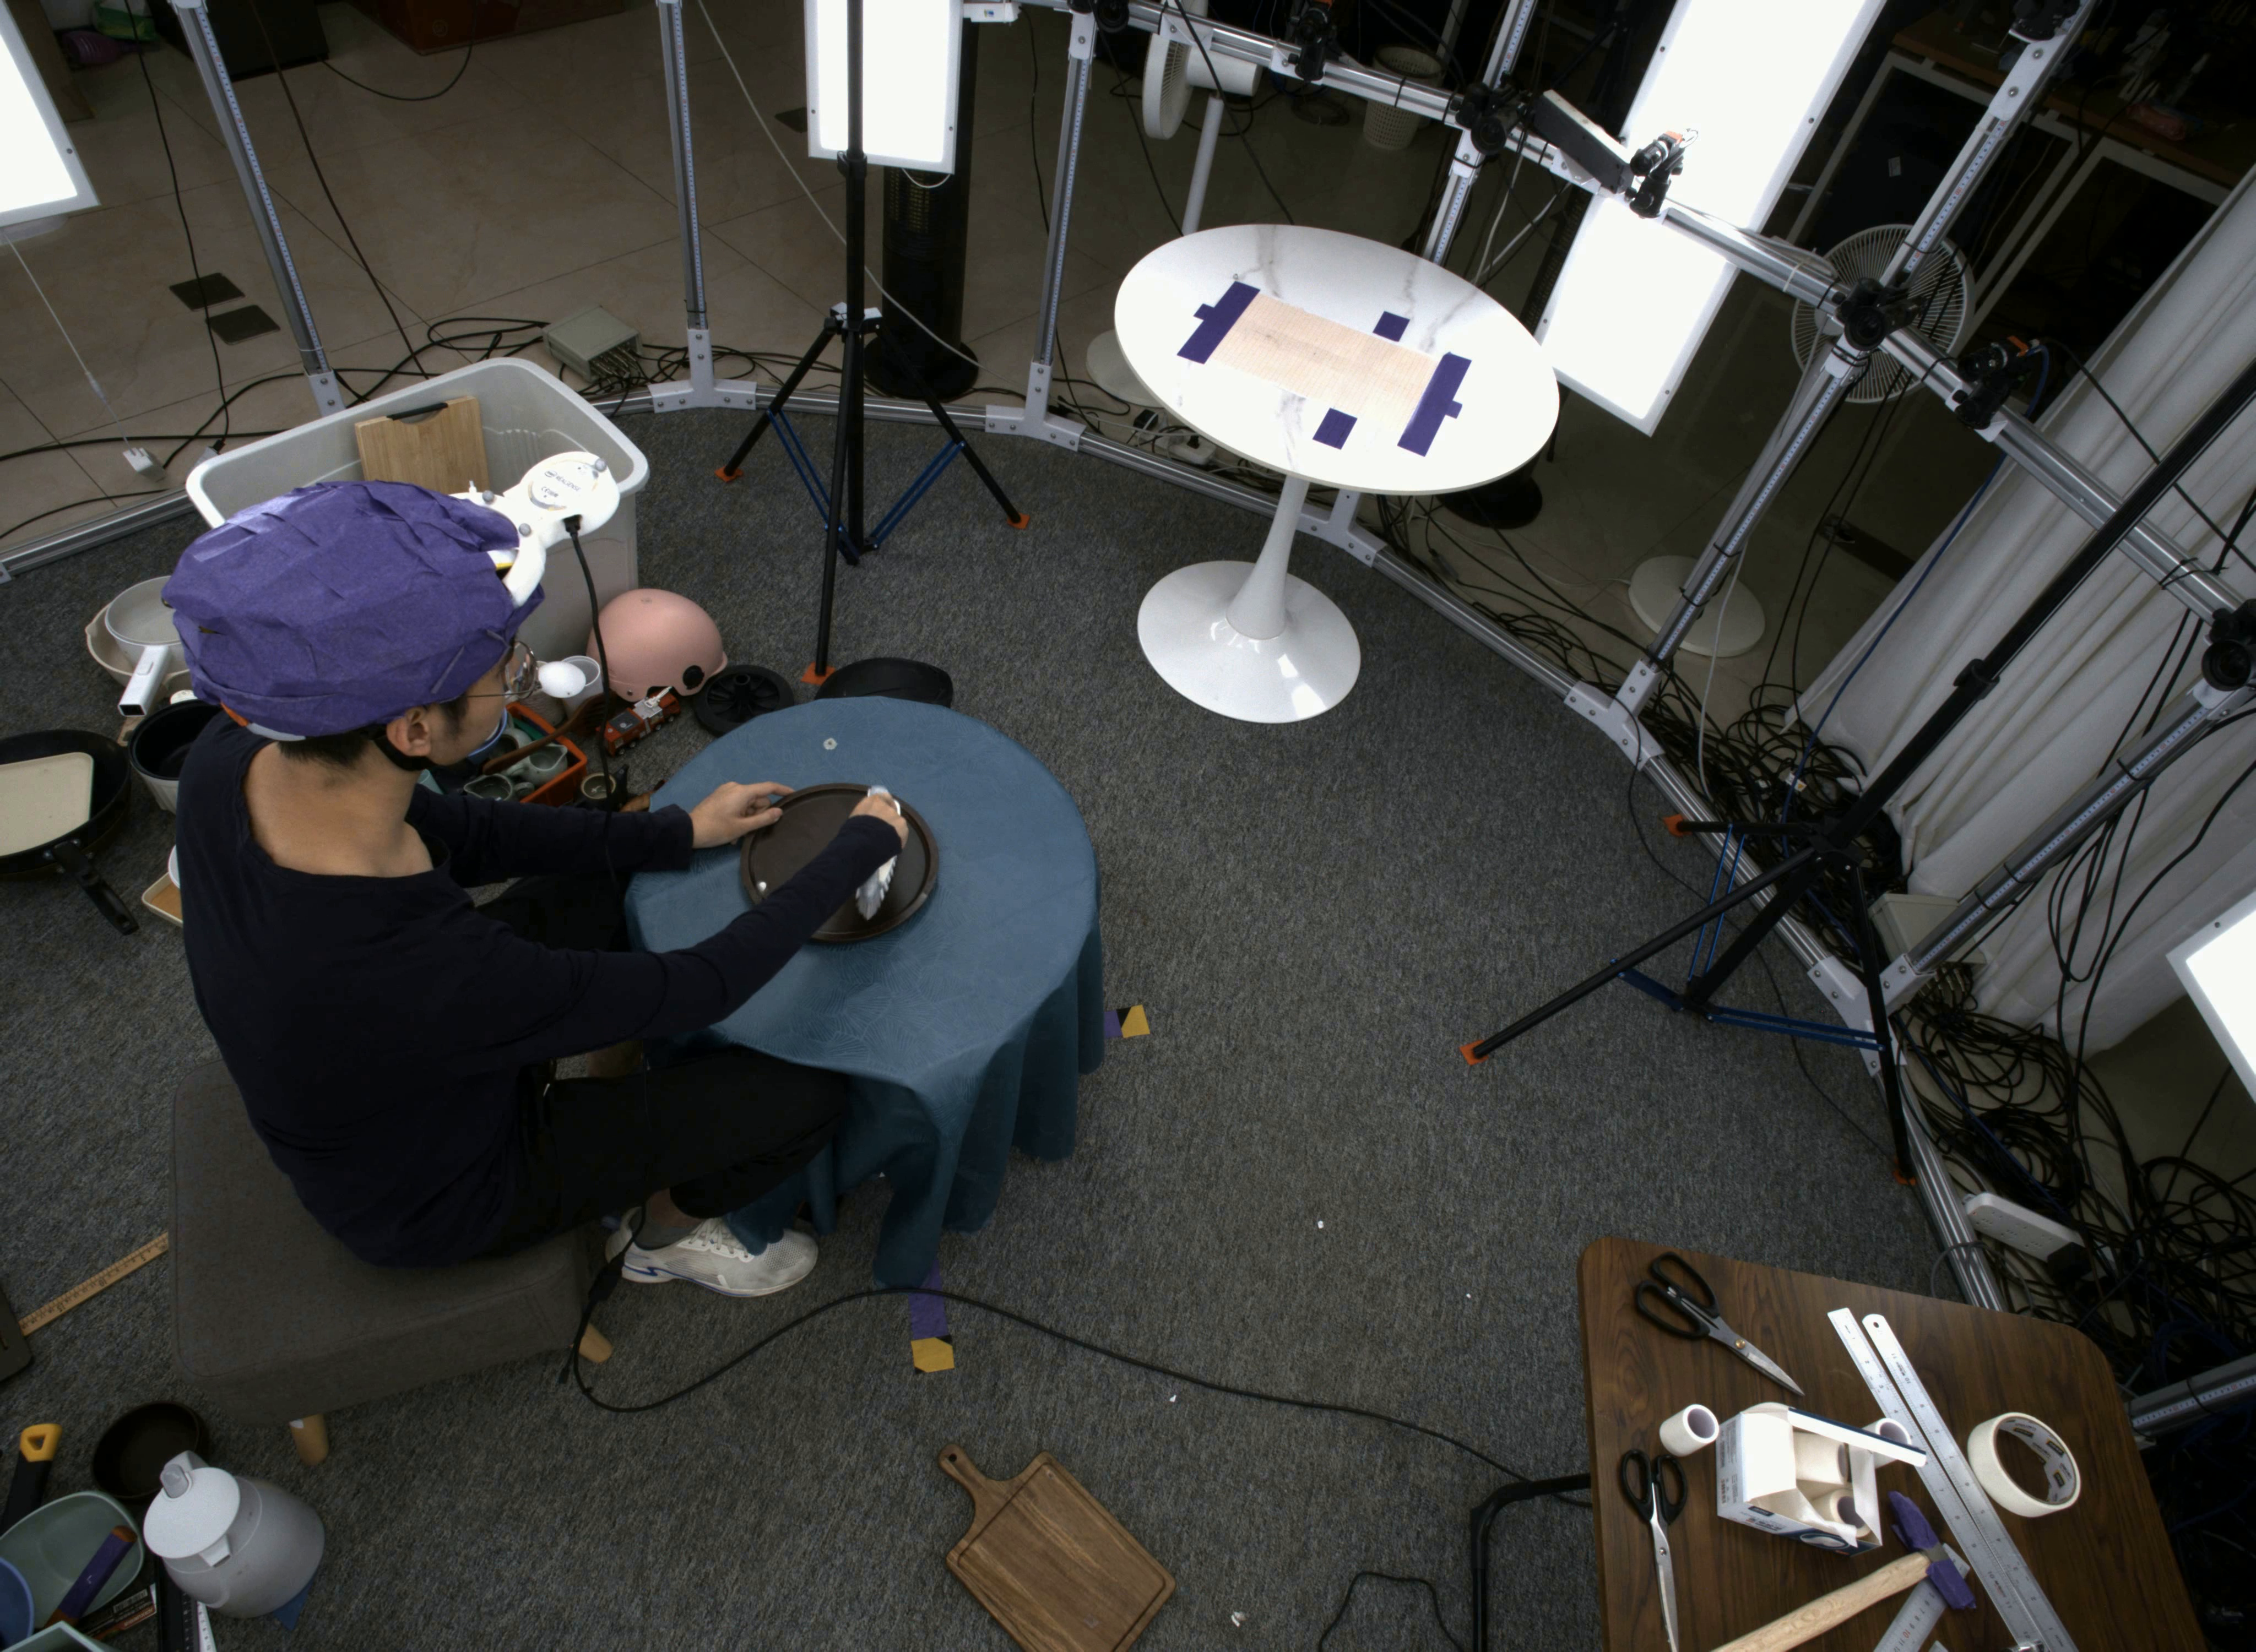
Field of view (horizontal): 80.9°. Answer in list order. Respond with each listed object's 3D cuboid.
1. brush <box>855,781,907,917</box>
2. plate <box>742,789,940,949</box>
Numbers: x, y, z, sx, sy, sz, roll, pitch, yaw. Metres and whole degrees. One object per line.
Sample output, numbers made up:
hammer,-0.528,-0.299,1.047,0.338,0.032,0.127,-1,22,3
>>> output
brush,-0.318,0.019,1.651,0.061,0.096,0.172,7,53,-7
plate,-0.372,0.052,1.689,0.254,0.029,0.250,8,52,-9
